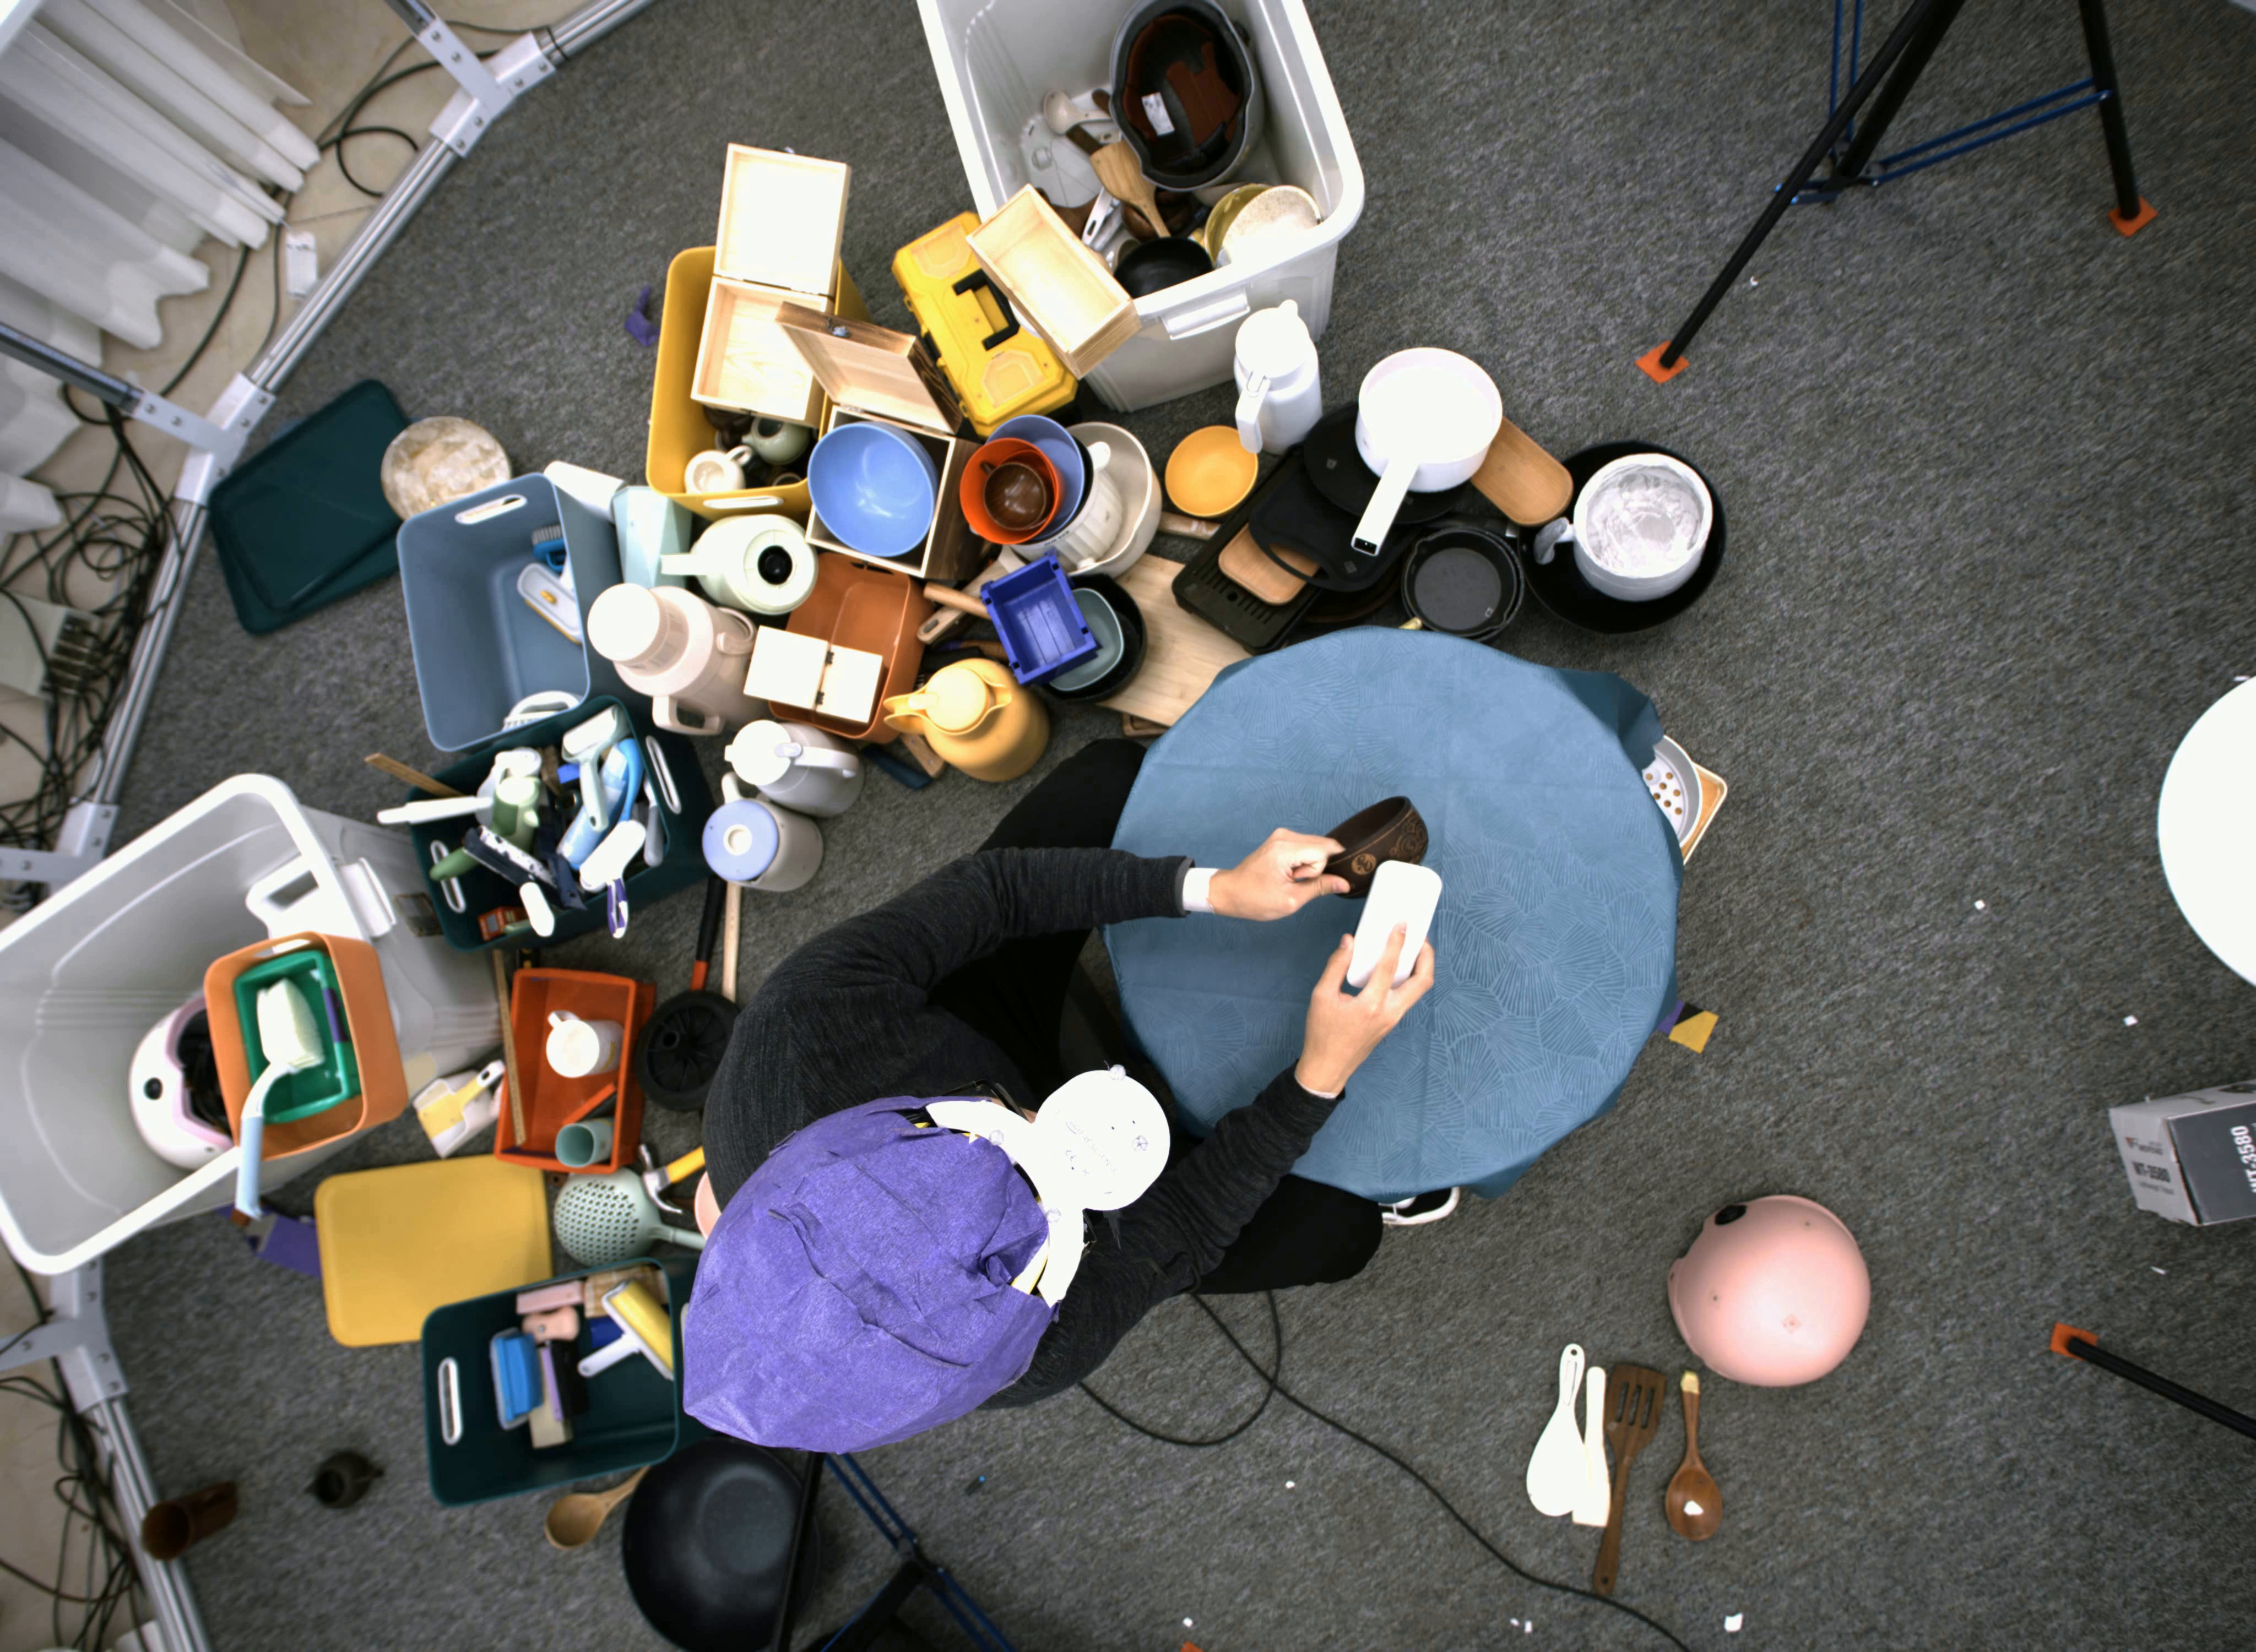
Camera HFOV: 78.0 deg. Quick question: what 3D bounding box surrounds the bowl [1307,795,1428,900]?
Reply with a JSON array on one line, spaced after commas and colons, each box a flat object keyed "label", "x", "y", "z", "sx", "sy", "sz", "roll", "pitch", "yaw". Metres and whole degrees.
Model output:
[{"label": "bowl", "x": 0.241, "y": 0.028, "z": 1.348, "sx": 0.118, "sy": 0.117, "sz": 0.070, "roll": -34, "pitch": 99, "yaw": 5}]

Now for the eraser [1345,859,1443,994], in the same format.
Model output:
[{"label": "eraser", "x": 0.248, "y": 0.095, "z": 1.306, "sx": 0.063, "sy": 0.034, "sz": 0.134, "roll": 12, "pitch": 113, "yaw": -12}]
